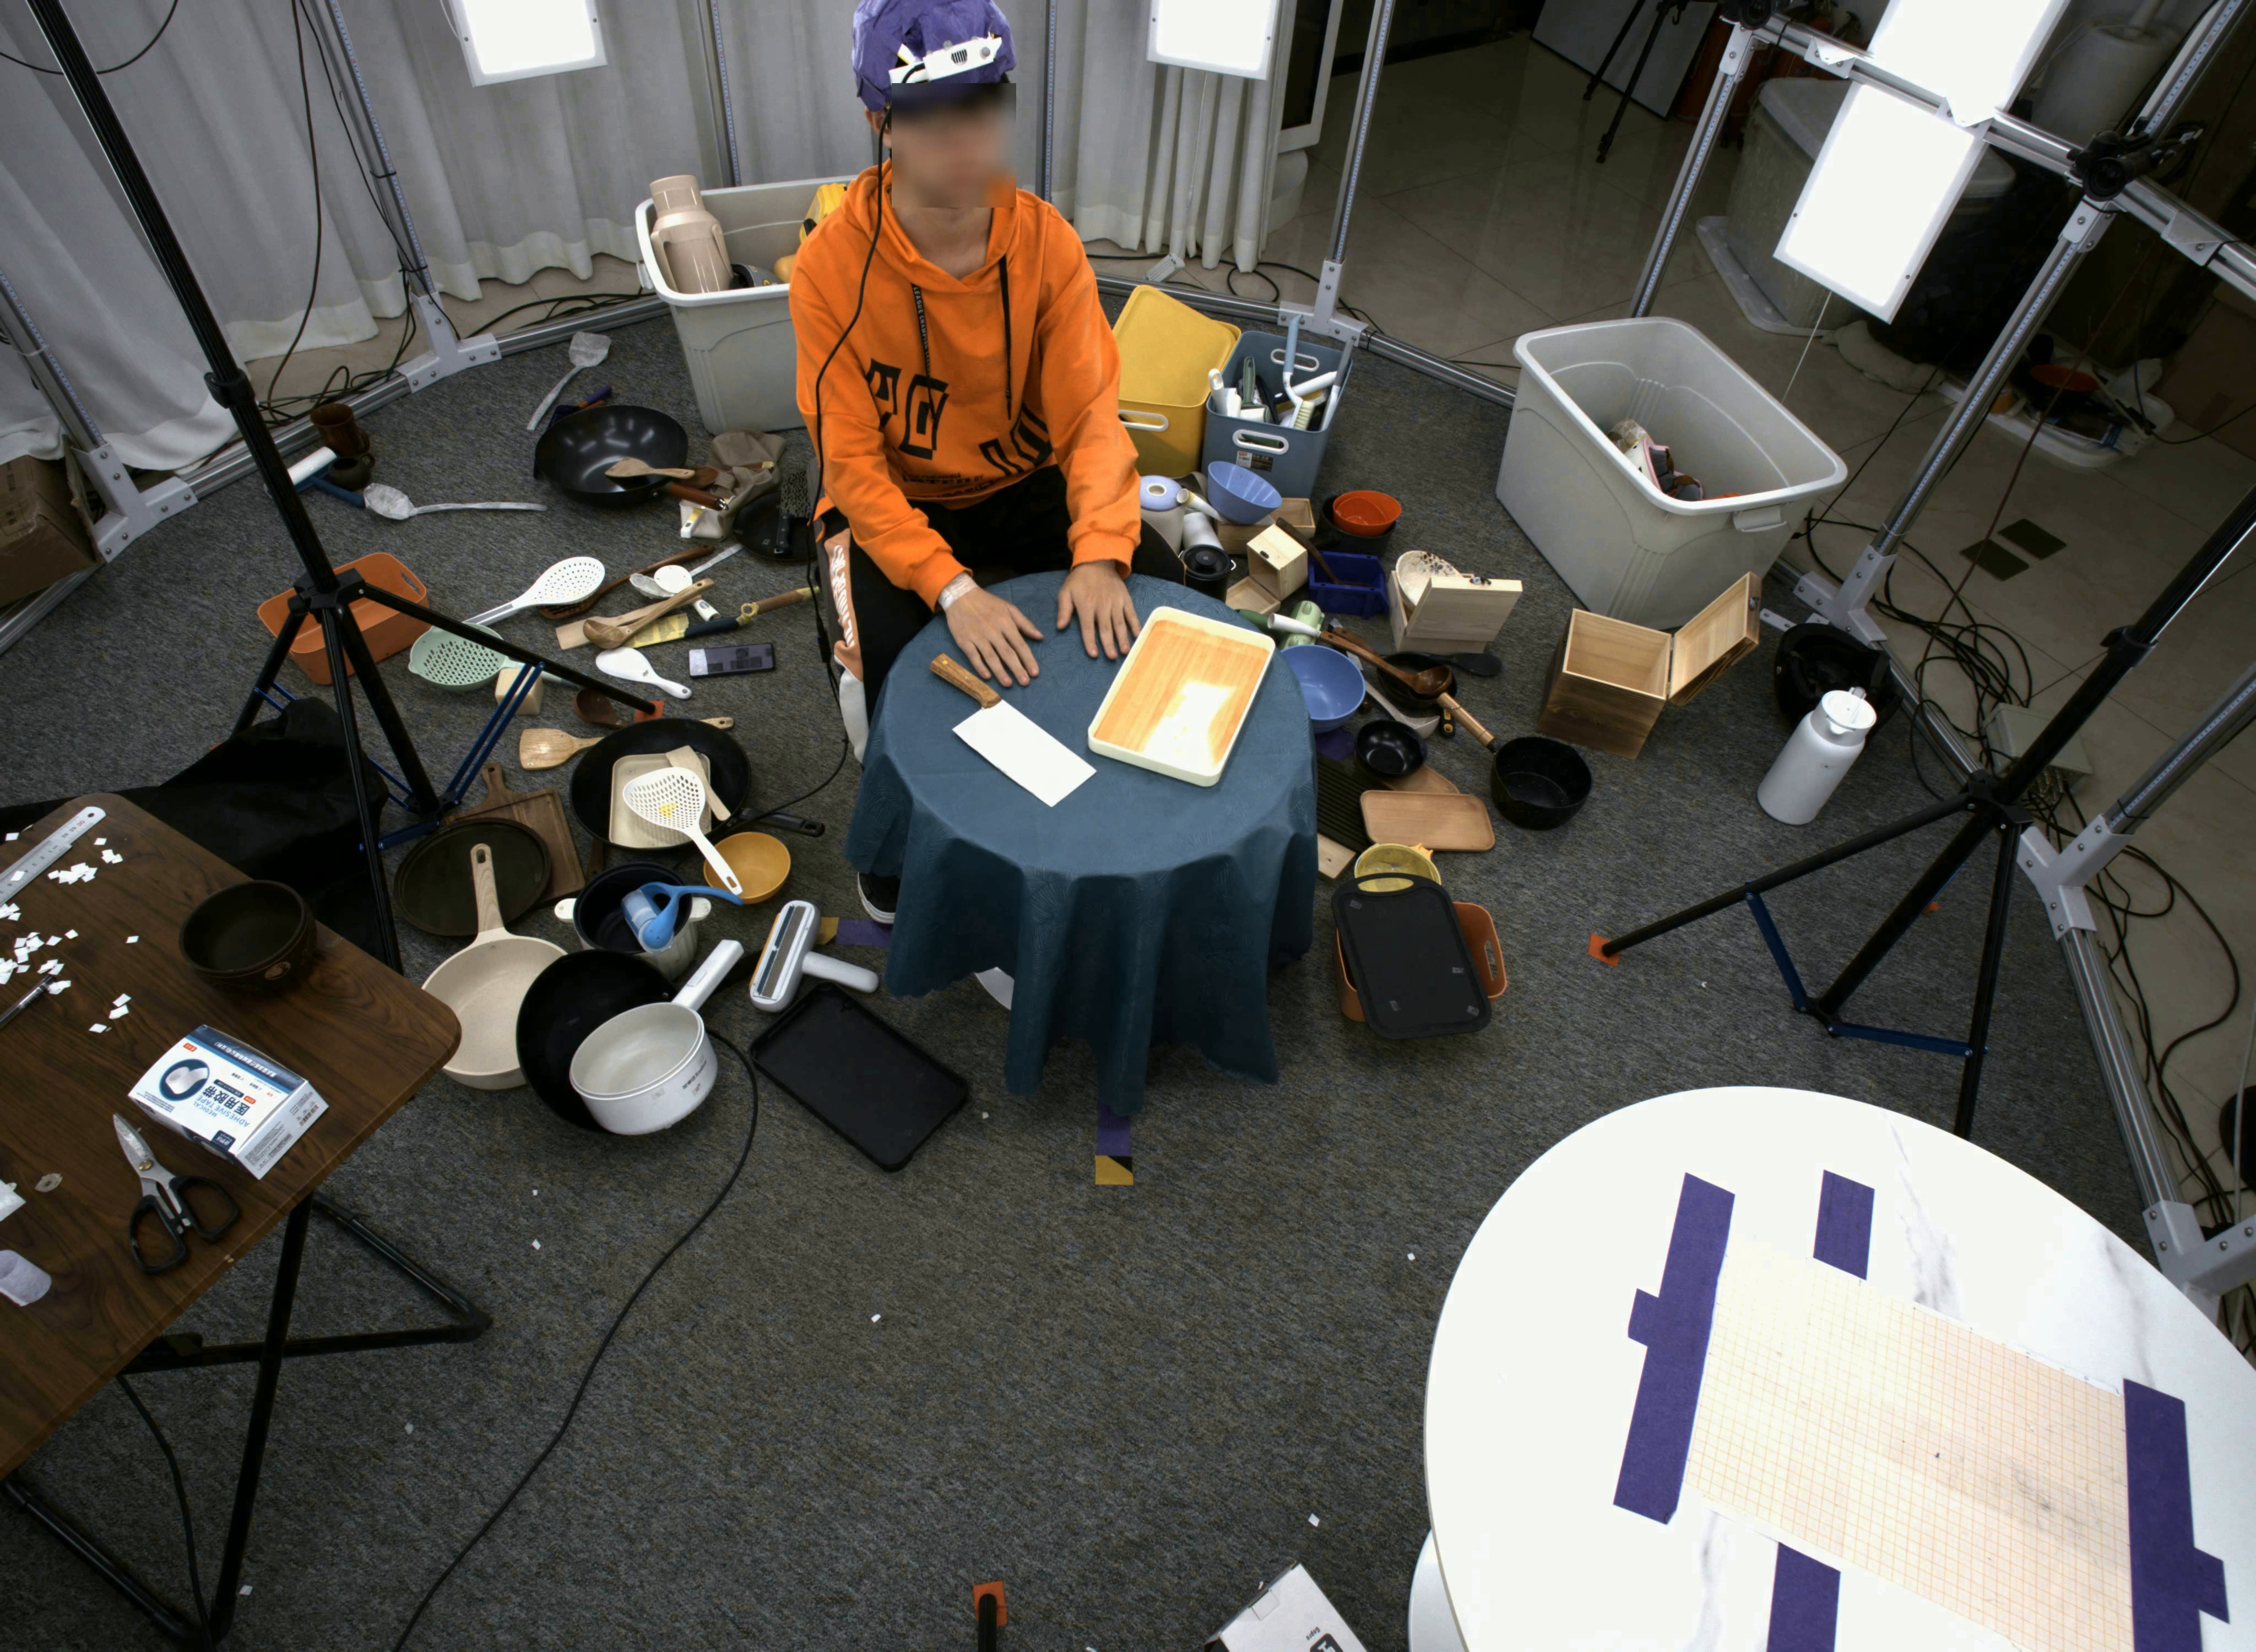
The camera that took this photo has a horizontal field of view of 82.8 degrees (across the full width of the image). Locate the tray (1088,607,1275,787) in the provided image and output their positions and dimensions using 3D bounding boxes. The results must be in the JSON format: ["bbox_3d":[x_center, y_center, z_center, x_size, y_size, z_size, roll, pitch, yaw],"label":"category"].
[{"bbox_3d":[0.080,-0.190,1.821,0.192,0.027,0.306,17,51,11],"label":"tray"}]

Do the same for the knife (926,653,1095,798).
[{"bbox_3d":[-0.182,-0.137,1.765,0.310,0.020,0.094,38,58,23],"label":"knife"}]
